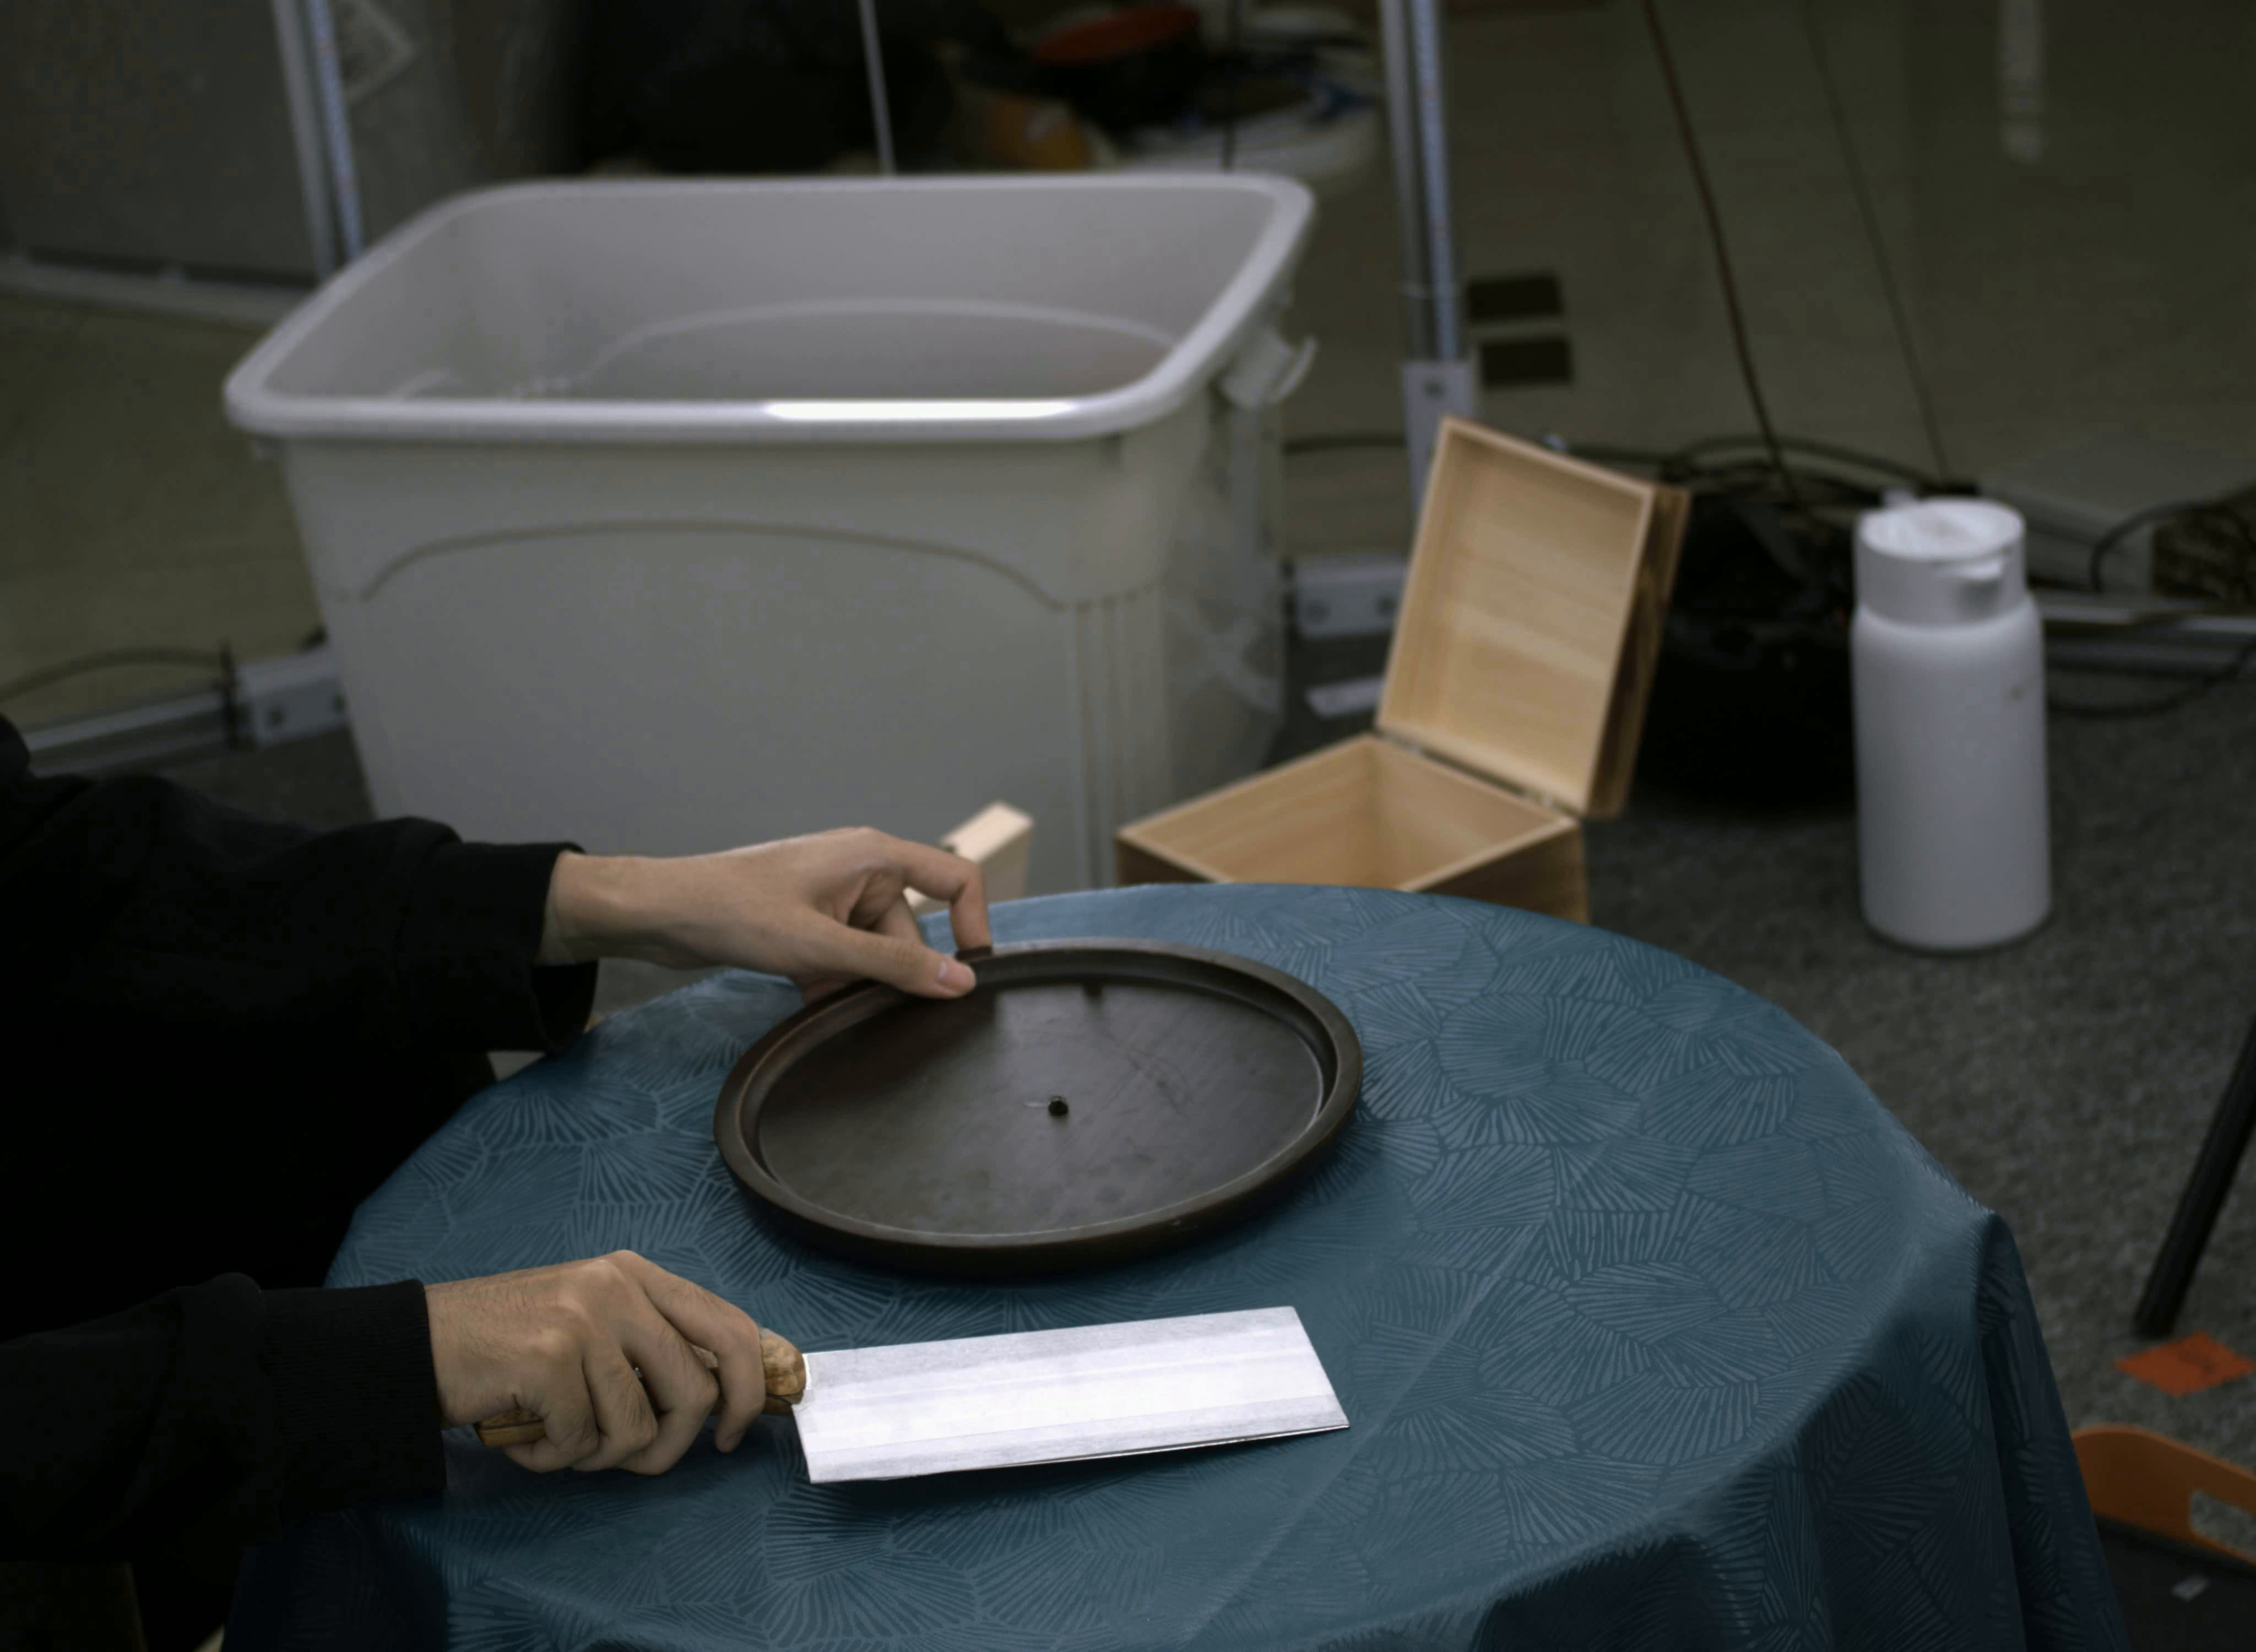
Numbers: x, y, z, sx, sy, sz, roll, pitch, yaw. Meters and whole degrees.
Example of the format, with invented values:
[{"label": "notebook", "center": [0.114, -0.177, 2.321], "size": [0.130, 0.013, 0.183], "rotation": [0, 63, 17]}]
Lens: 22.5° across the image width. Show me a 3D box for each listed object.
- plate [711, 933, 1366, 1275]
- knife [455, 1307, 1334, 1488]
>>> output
[{"label": "plate", "center": [-0.034, 0.106, 2.191], "size": [0.254, 0.029, 0.251], "rotation": [-4, 24, 2]}, {"label": "knife", "center": [-0.080, 0.204, 1.990], "size": [0.305, 0.021, 0.091], "rotation": [-5, 25, -10]}]
